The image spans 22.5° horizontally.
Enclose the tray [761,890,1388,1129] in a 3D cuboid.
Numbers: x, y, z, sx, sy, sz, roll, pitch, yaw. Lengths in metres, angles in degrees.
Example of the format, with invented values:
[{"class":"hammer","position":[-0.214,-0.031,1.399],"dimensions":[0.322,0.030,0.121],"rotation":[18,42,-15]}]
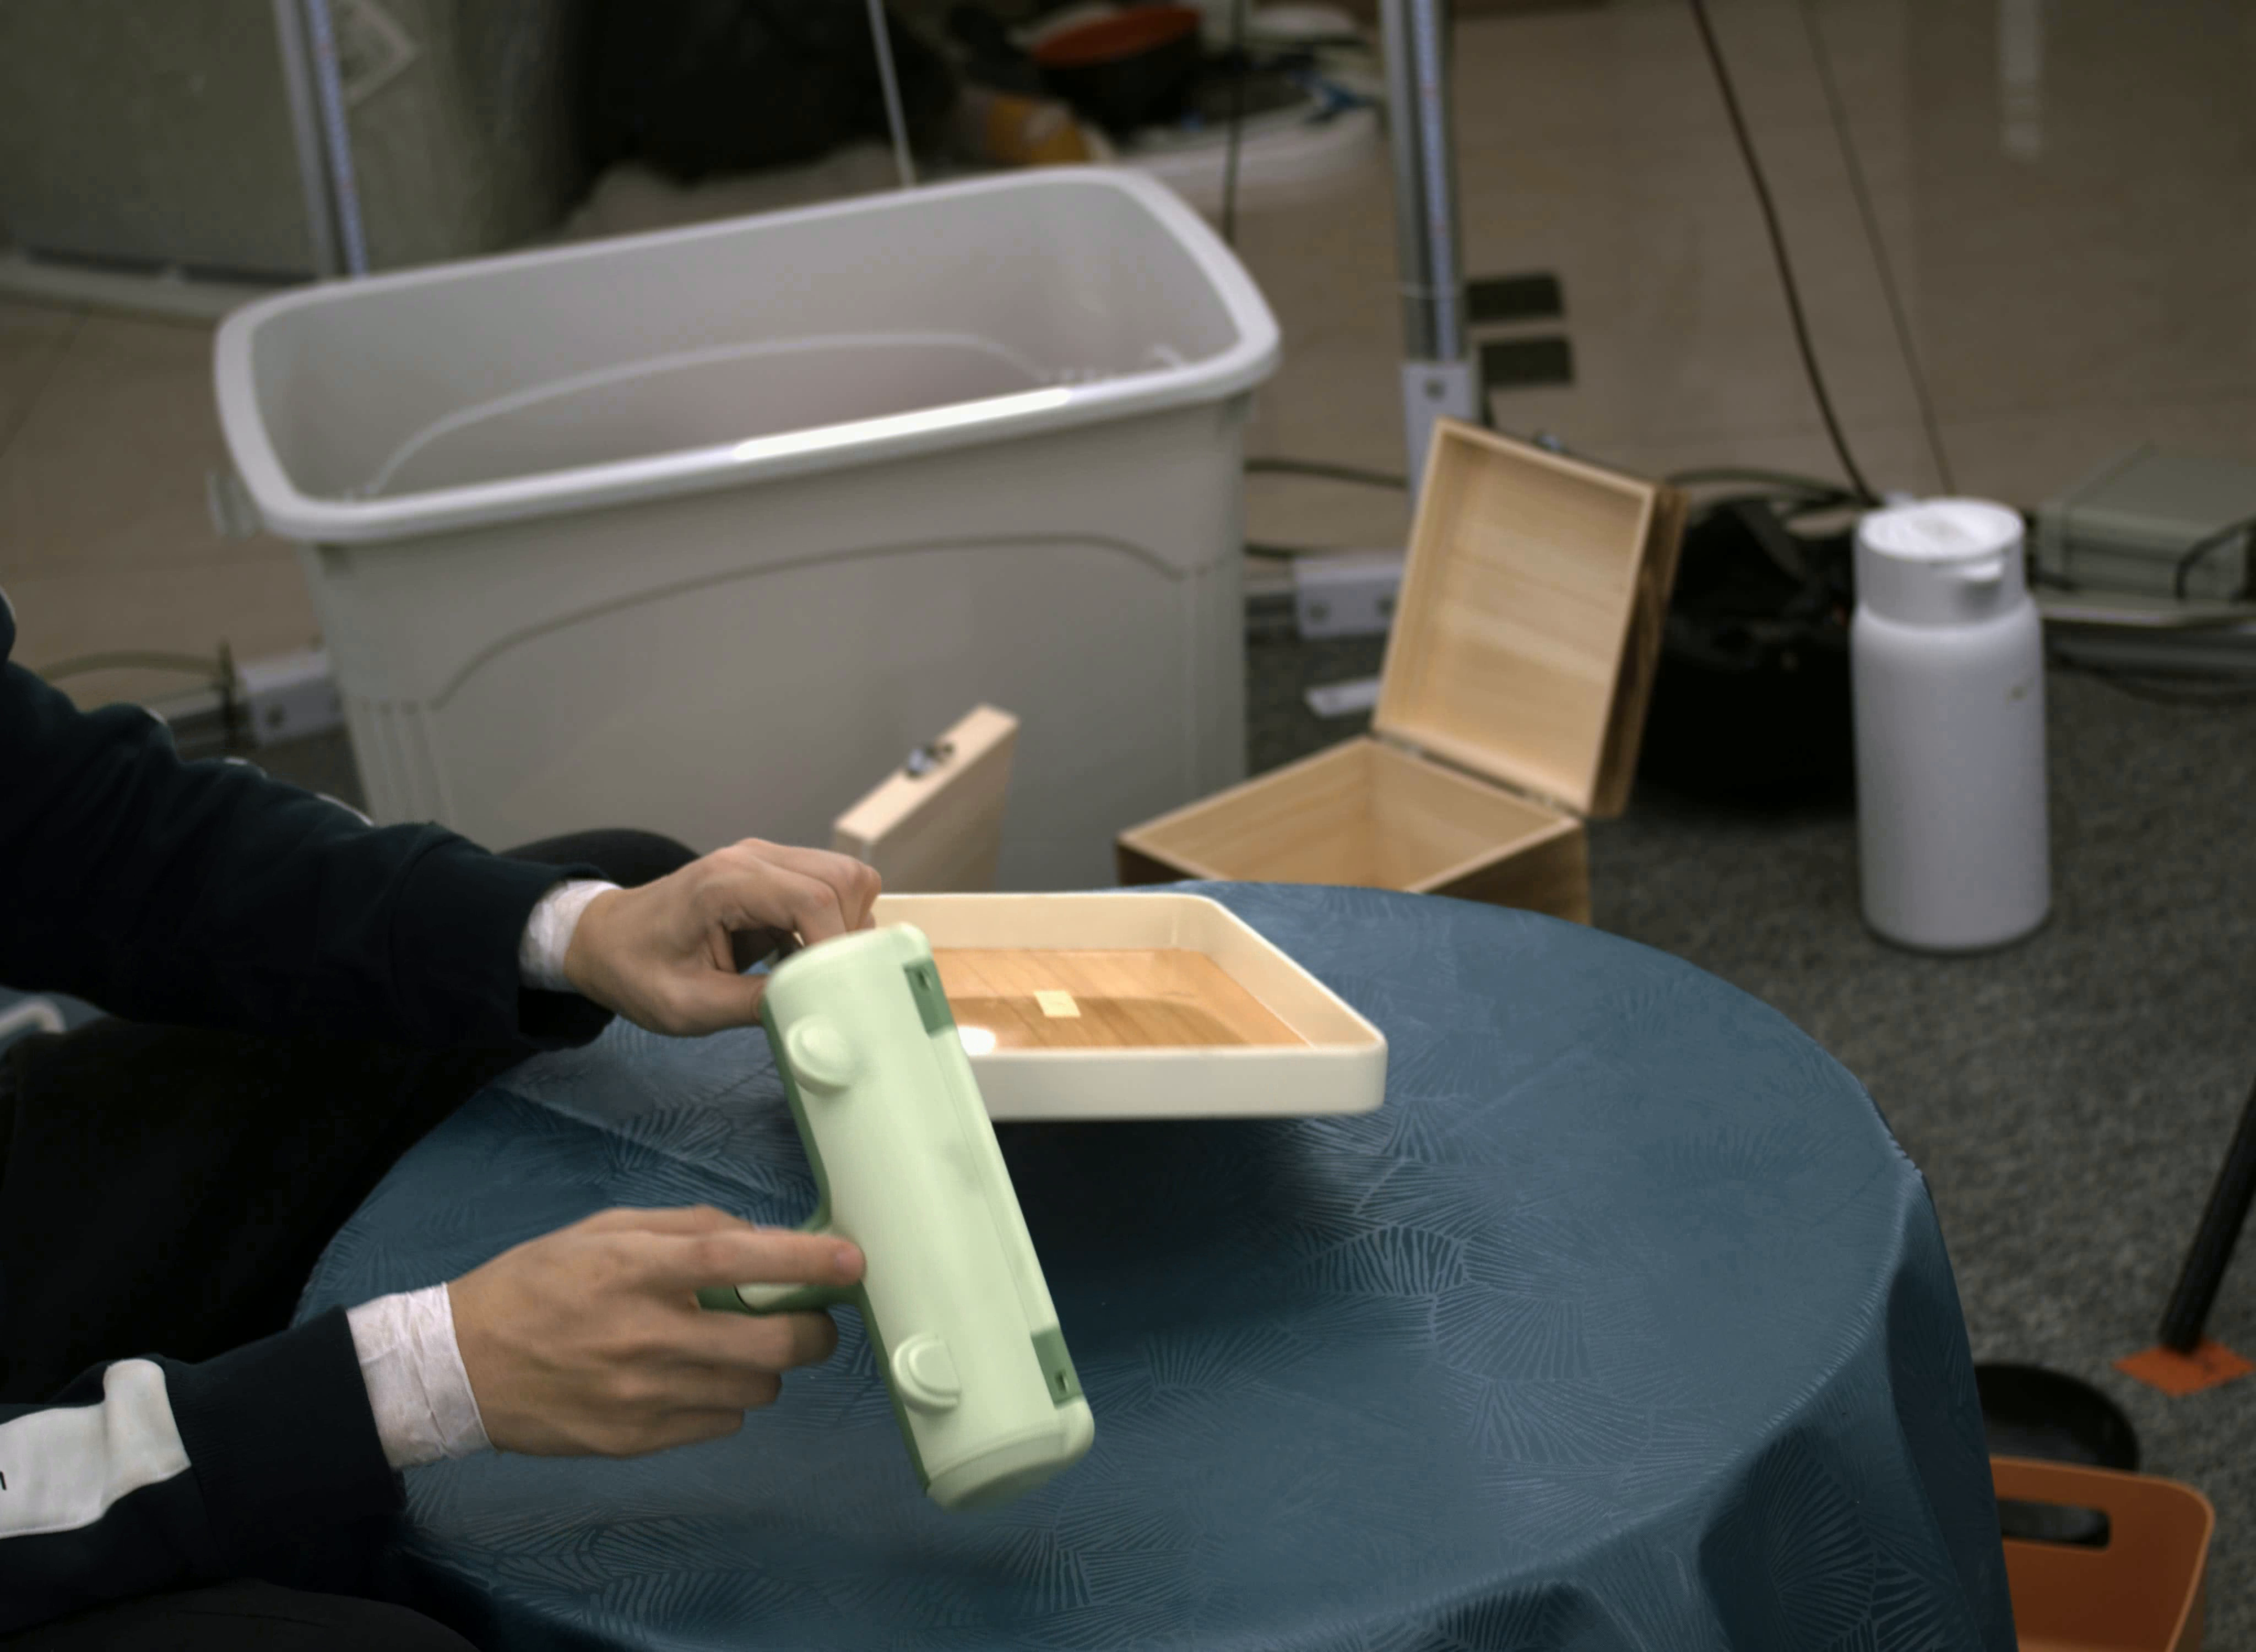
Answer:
[{"class":"tray","position":[-0.027,0.067,2.165],"dimensions":[0.191,0.027,0.298],"rotation":[-1,11,-12]}]

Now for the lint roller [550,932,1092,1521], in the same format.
[{"class":"lint roller","position":[-0.123,0.154,1.919],"dimensions":[0.183,0.197,0.083],"rotation":[-22,-16,9]}]
